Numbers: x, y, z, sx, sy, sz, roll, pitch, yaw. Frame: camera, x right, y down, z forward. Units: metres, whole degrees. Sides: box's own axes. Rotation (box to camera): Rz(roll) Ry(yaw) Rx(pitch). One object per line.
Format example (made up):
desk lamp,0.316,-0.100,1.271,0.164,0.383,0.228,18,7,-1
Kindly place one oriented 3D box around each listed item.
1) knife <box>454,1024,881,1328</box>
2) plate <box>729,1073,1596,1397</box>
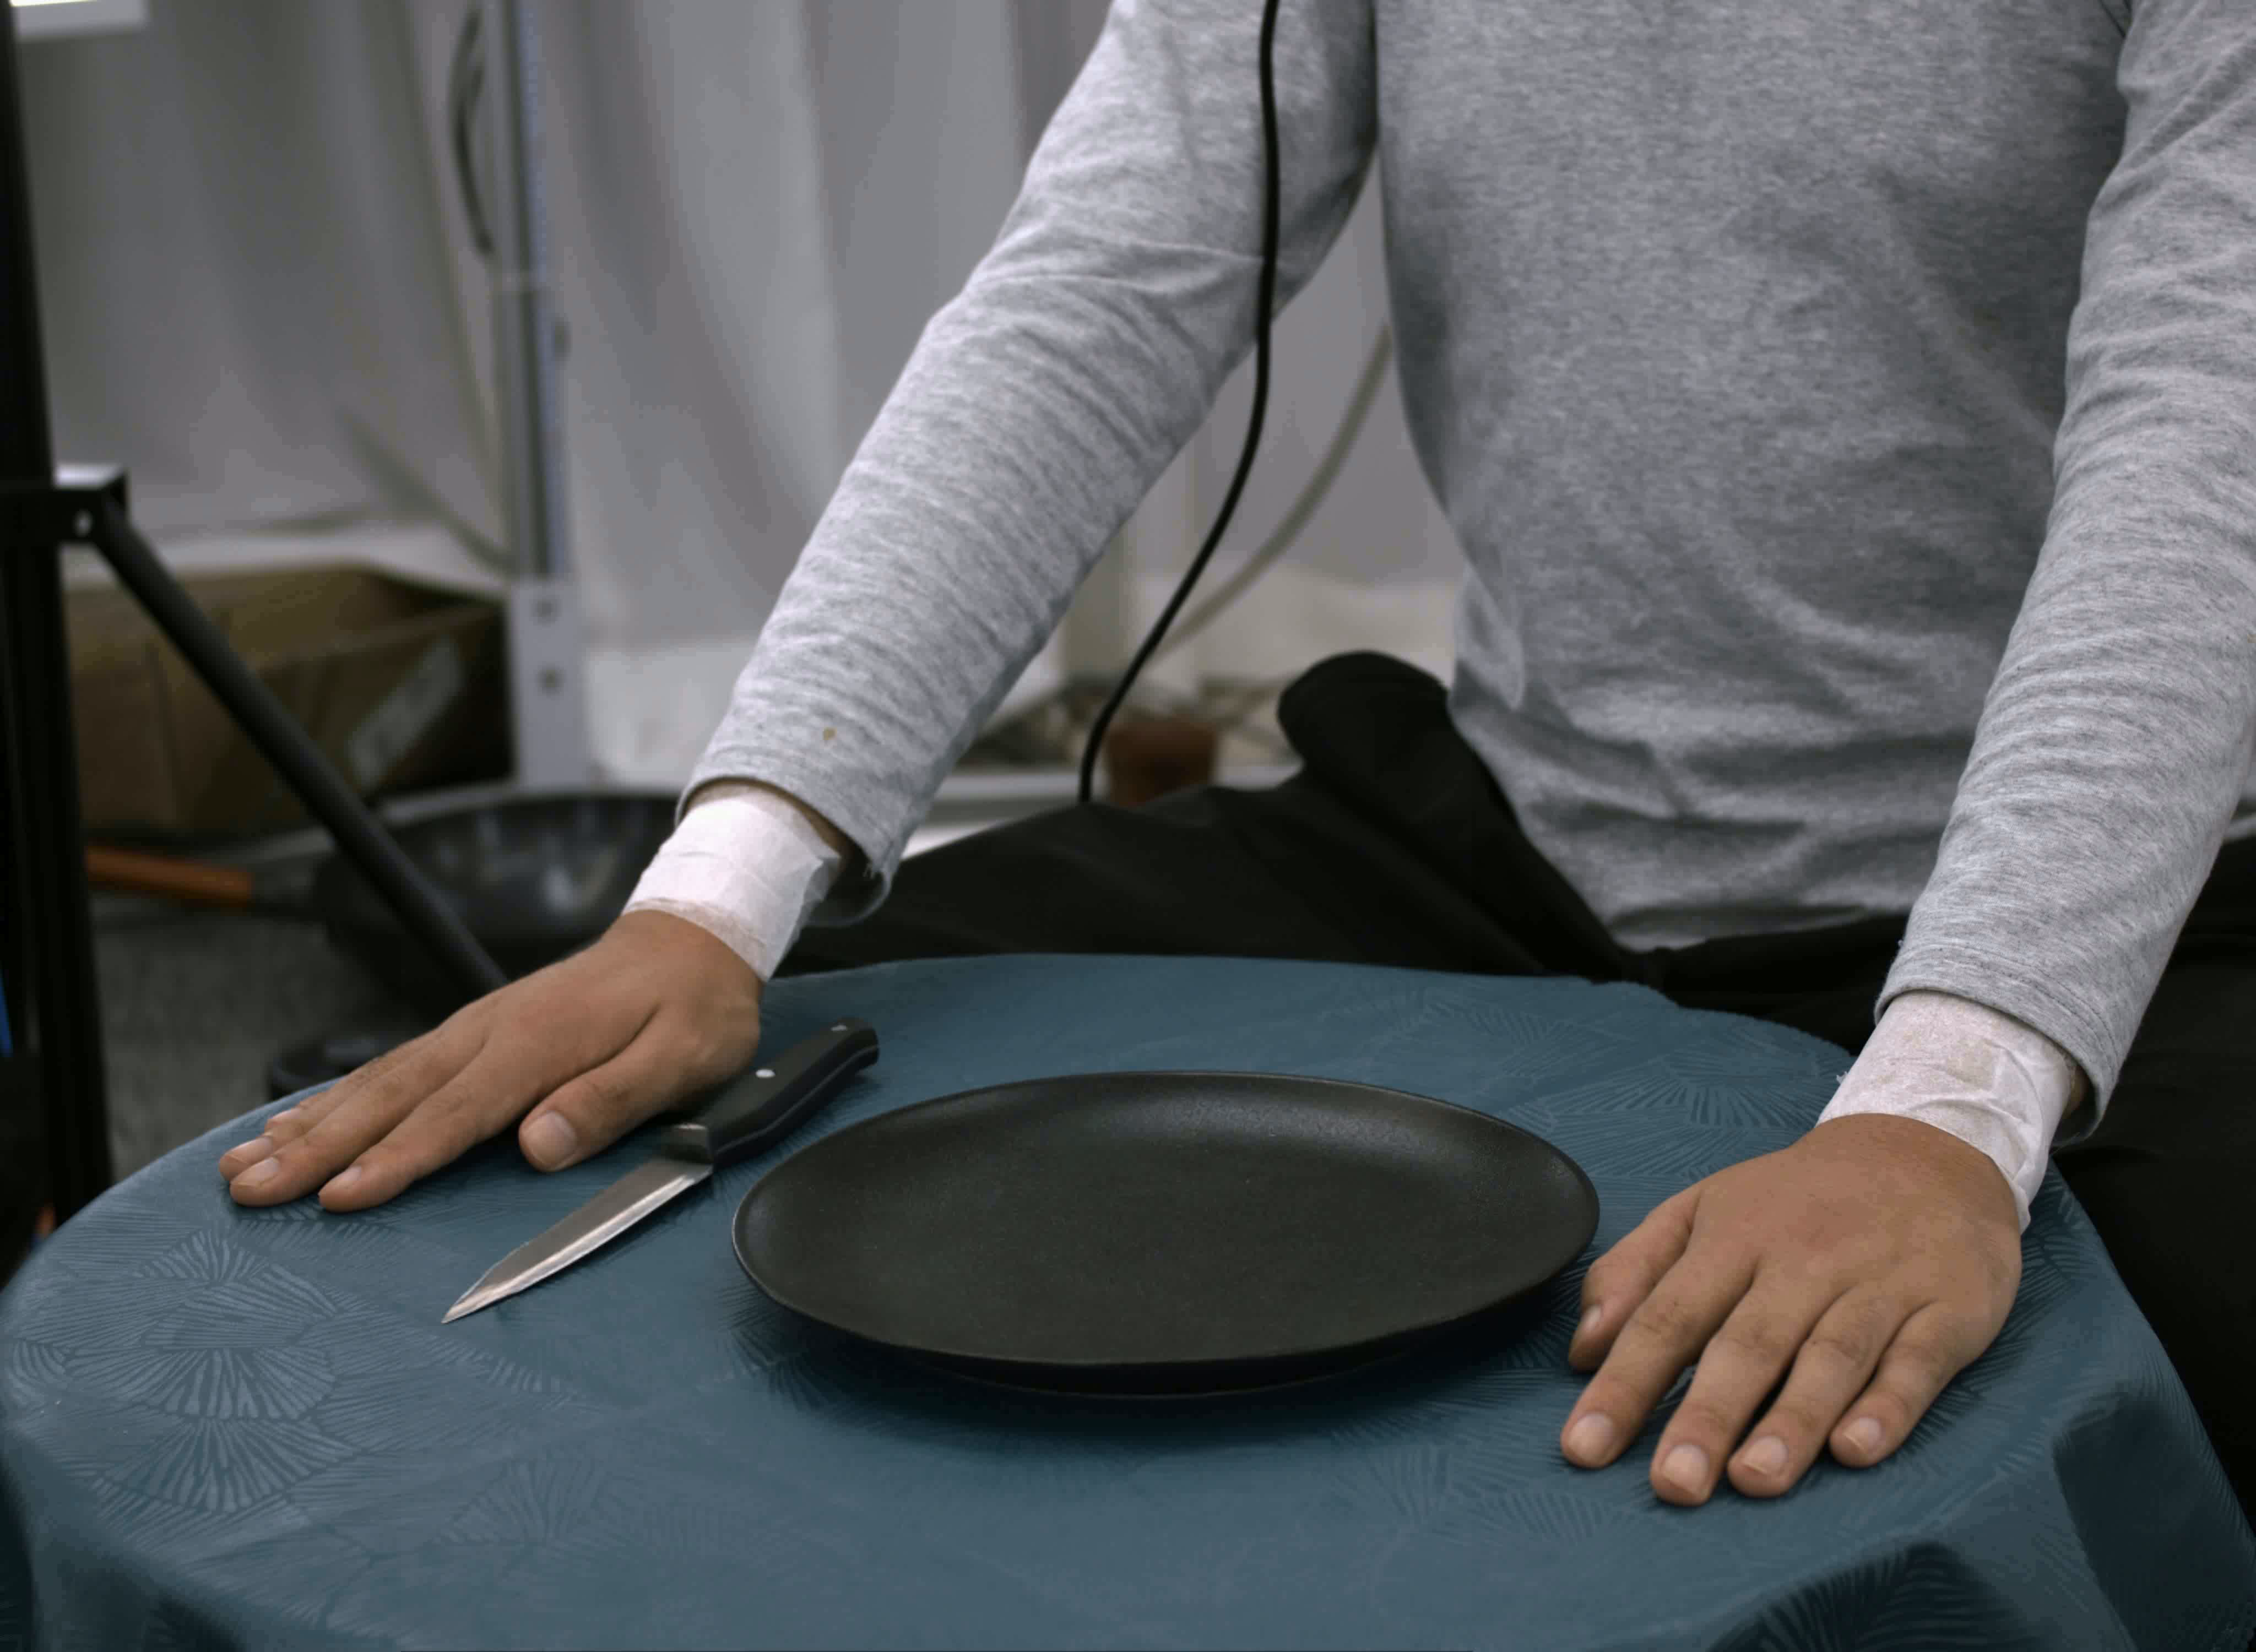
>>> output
knife,-0.137,0.103,1.580,0.025,0.016,0.234,5,20,26
plate,0.010,0.117,1.488,0.243,0.023,0.245,-3,16,-1
